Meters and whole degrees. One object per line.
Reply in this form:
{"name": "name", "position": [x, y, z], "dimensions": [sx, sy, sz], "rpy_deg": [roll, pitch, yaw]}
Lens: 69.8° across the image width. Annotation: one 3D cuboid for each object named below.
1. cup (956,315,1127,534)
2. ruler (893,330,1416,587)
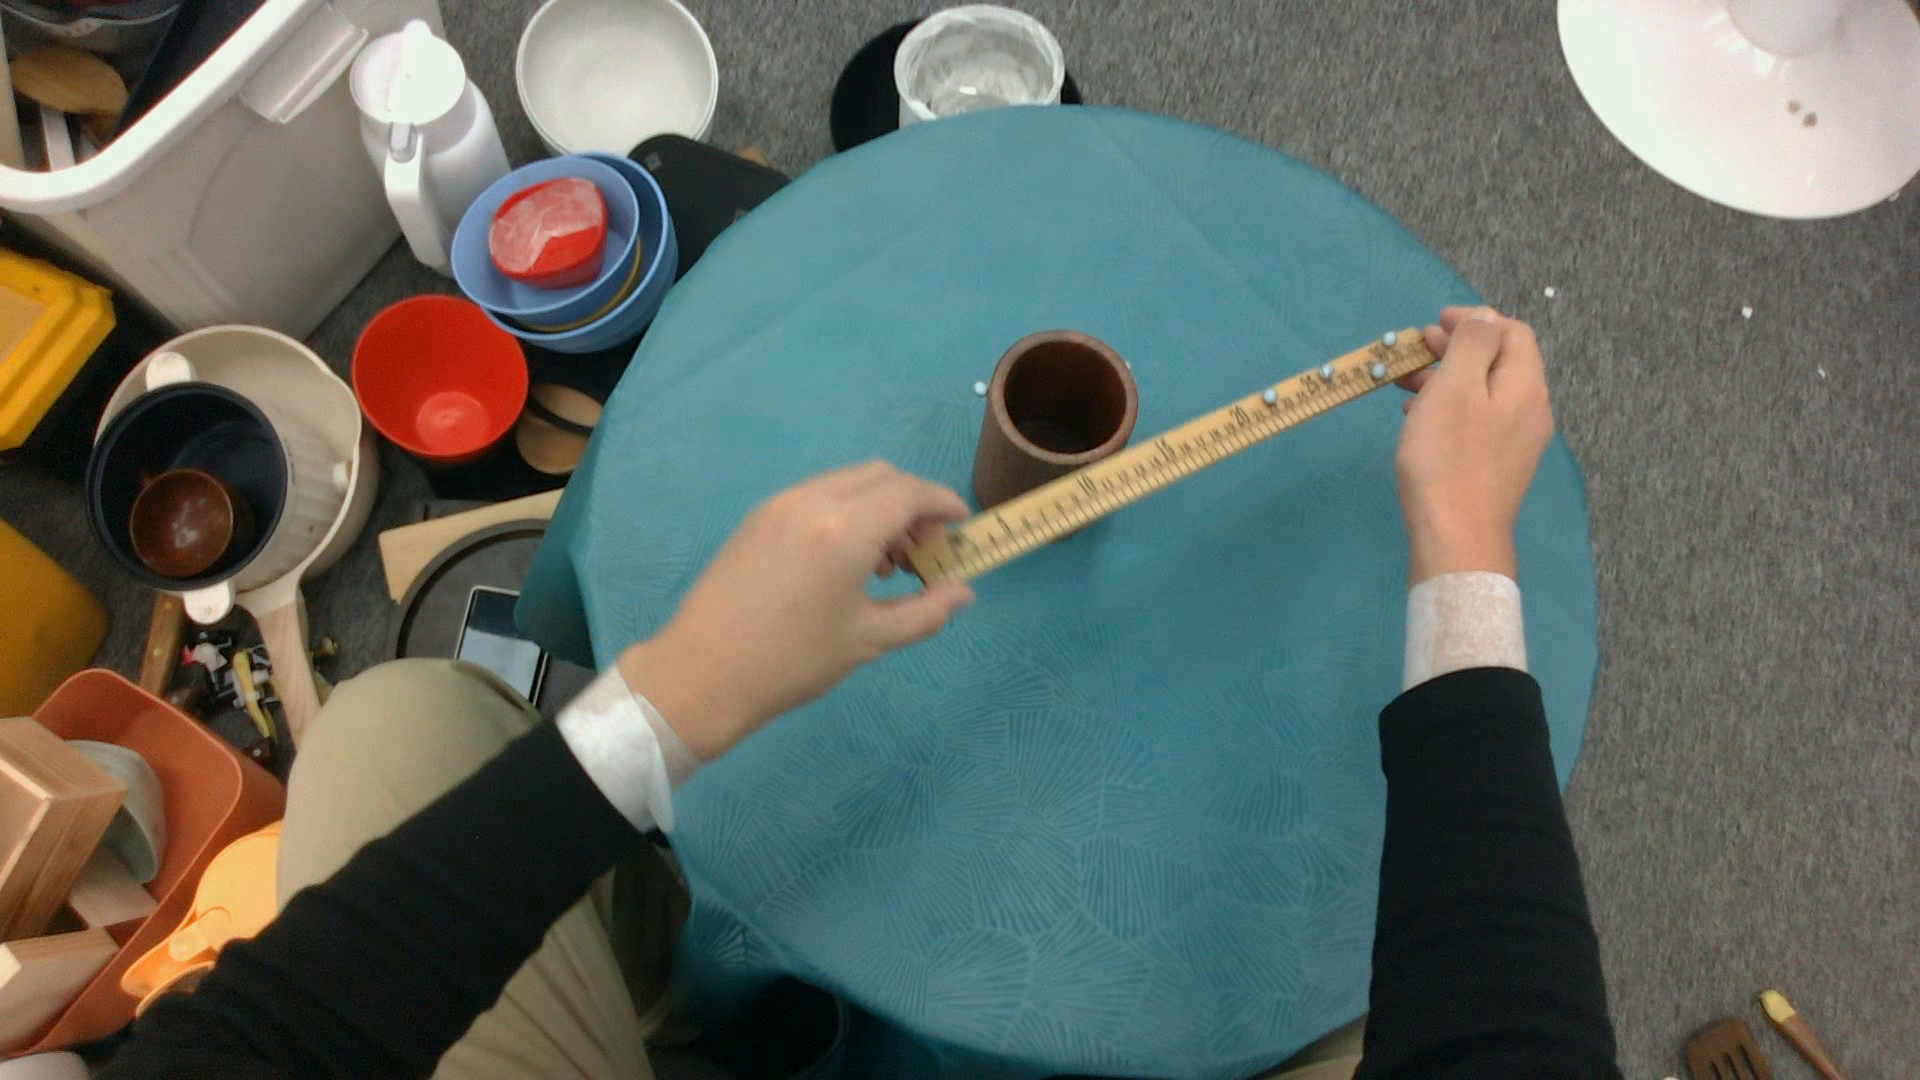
{"name": "cup", "position": [0.043, -0.061, 0.768], "dimensions": [0.088, 0.118, 0.088], "rpy_deg": [2, 69, -4]}
{"name": "ruler", "position": [0.113, -0.051, 0.705], "dimensions": [0.333, 0.022, 0.027], "rpy_deg": [-24, 58, -25]}
